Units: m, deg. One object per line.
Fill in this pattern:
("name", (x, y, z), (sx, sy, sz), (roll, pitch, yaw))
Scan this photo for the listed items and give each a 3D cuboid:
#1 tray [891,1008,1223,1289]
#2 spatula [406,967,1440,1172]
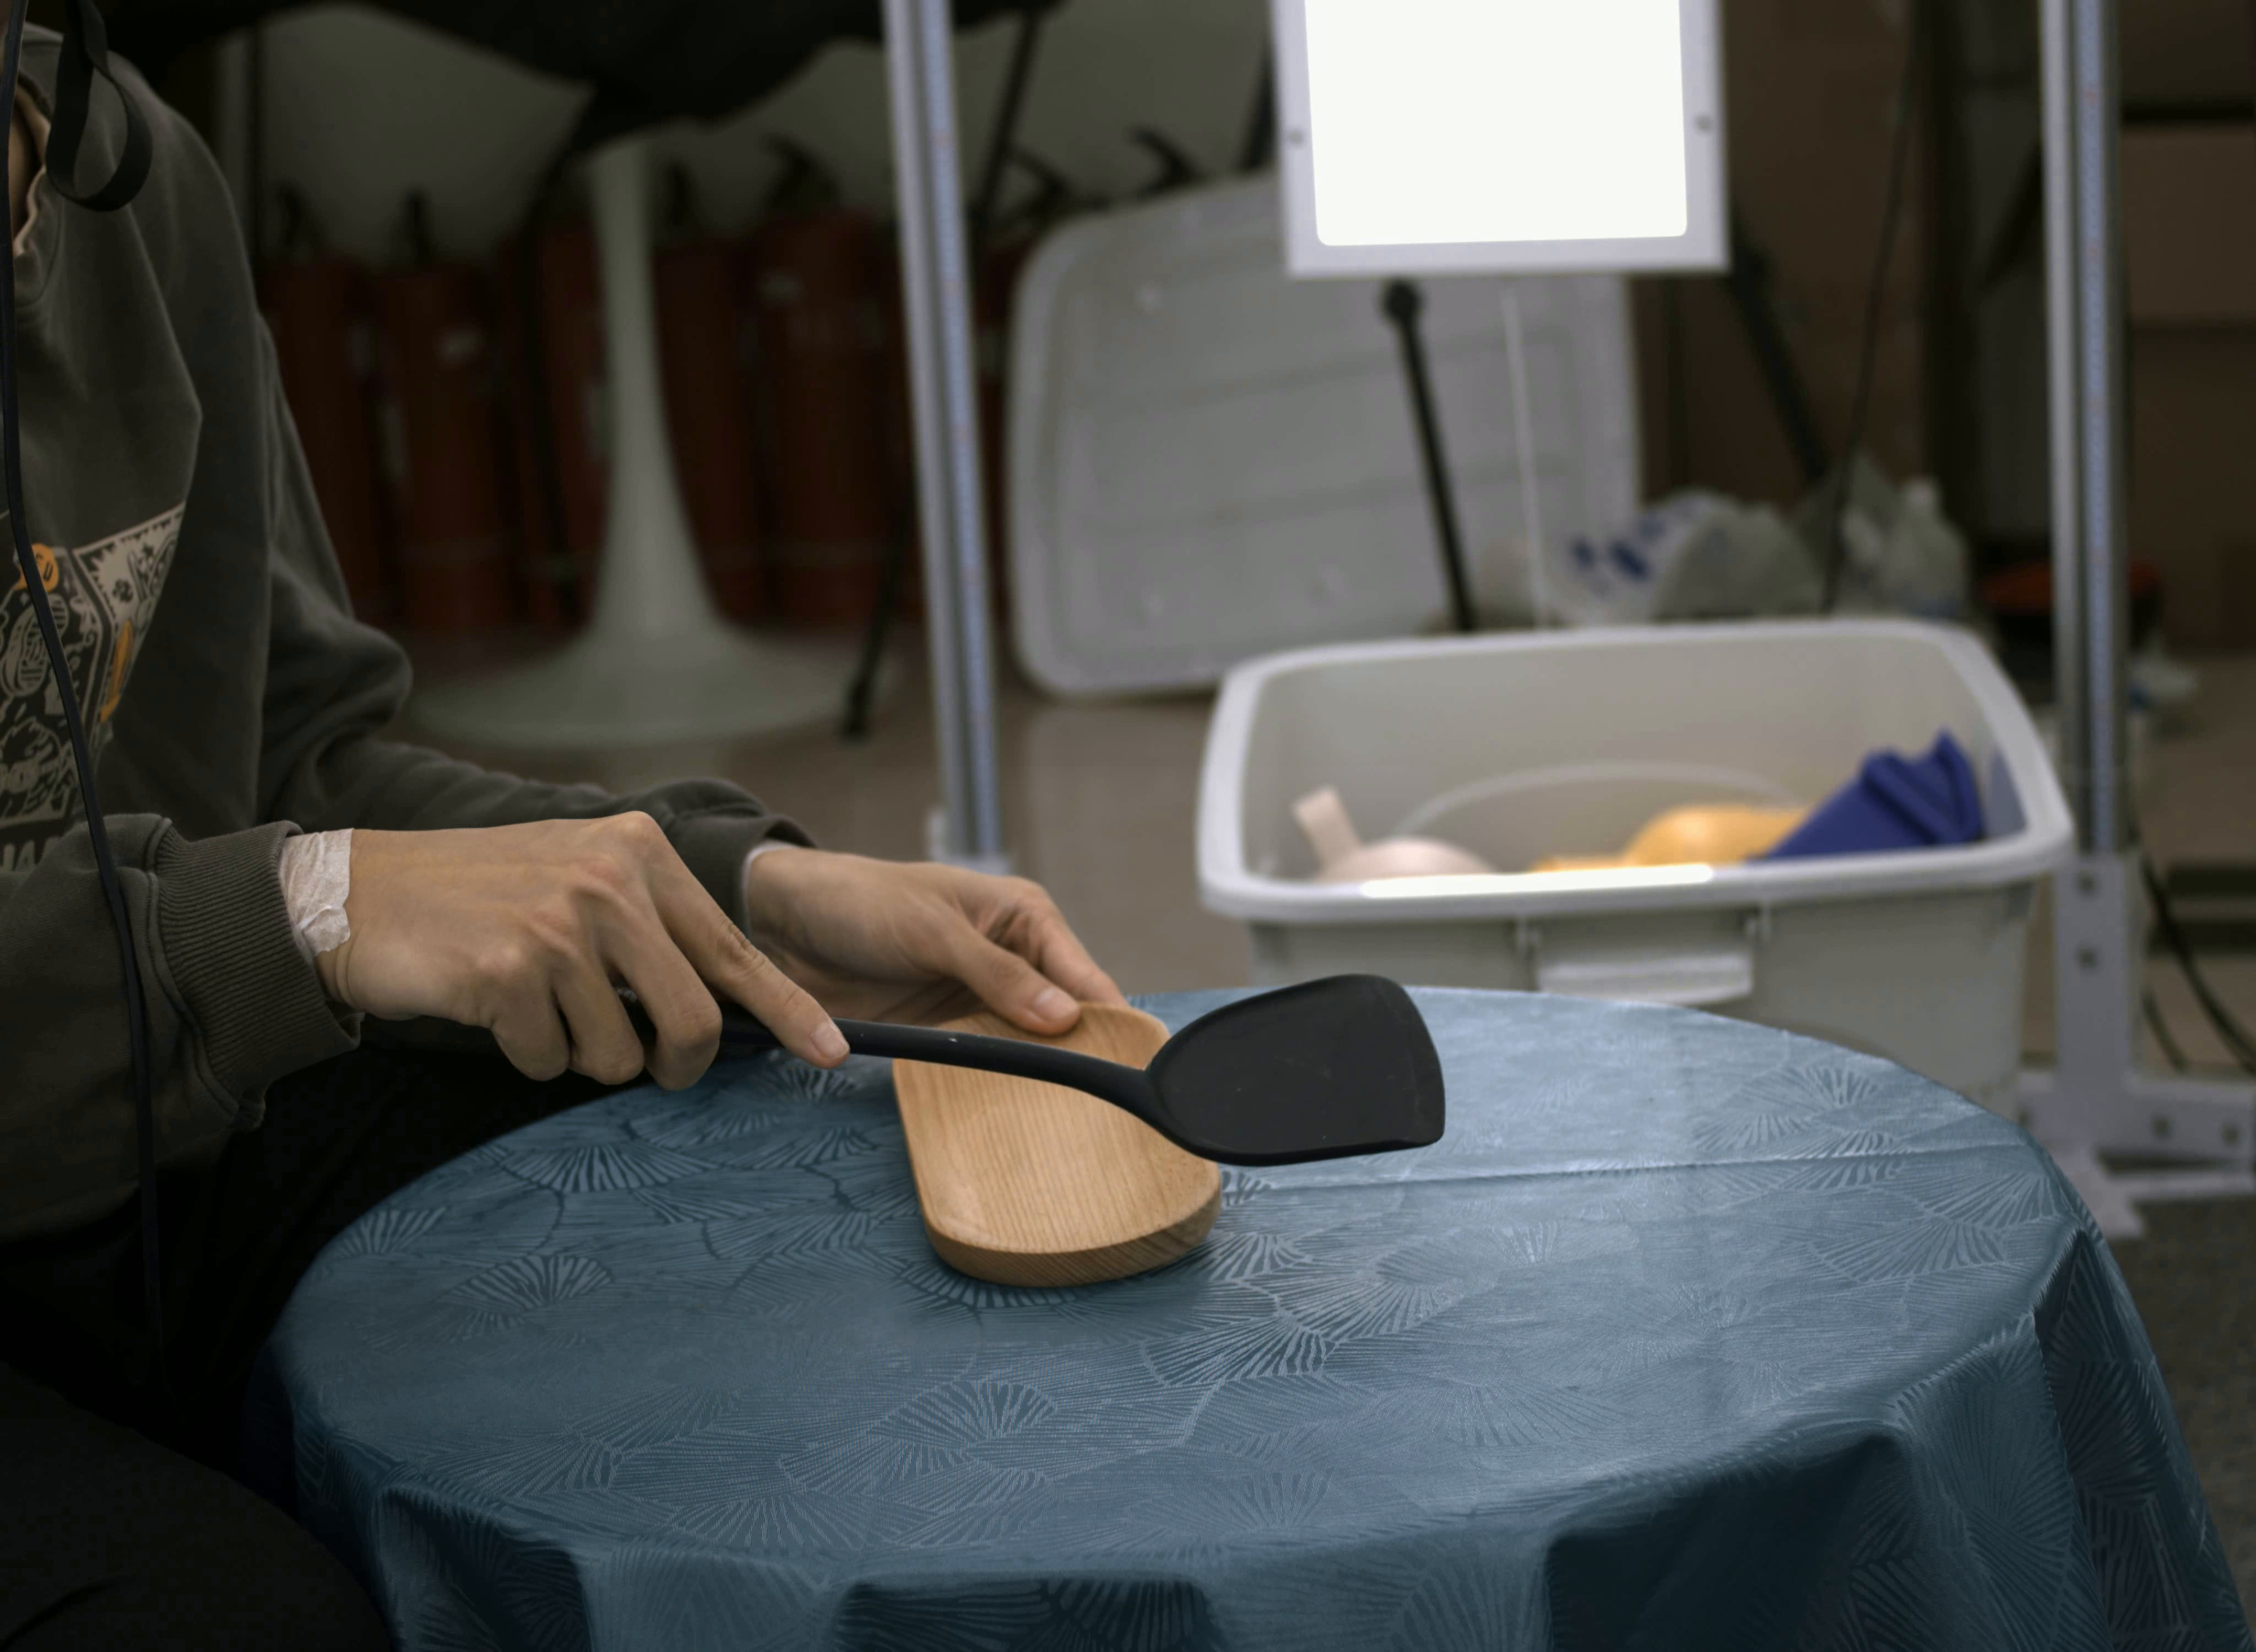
("tray", (-0.026, 0.109, 1.905), (0.101, 0.020, 0.231), (-9, 20, -4))
("spatula", (-0.063, 0.064, 1.731), (0.322, 0.041, 0.100), (10, 28, -11))
